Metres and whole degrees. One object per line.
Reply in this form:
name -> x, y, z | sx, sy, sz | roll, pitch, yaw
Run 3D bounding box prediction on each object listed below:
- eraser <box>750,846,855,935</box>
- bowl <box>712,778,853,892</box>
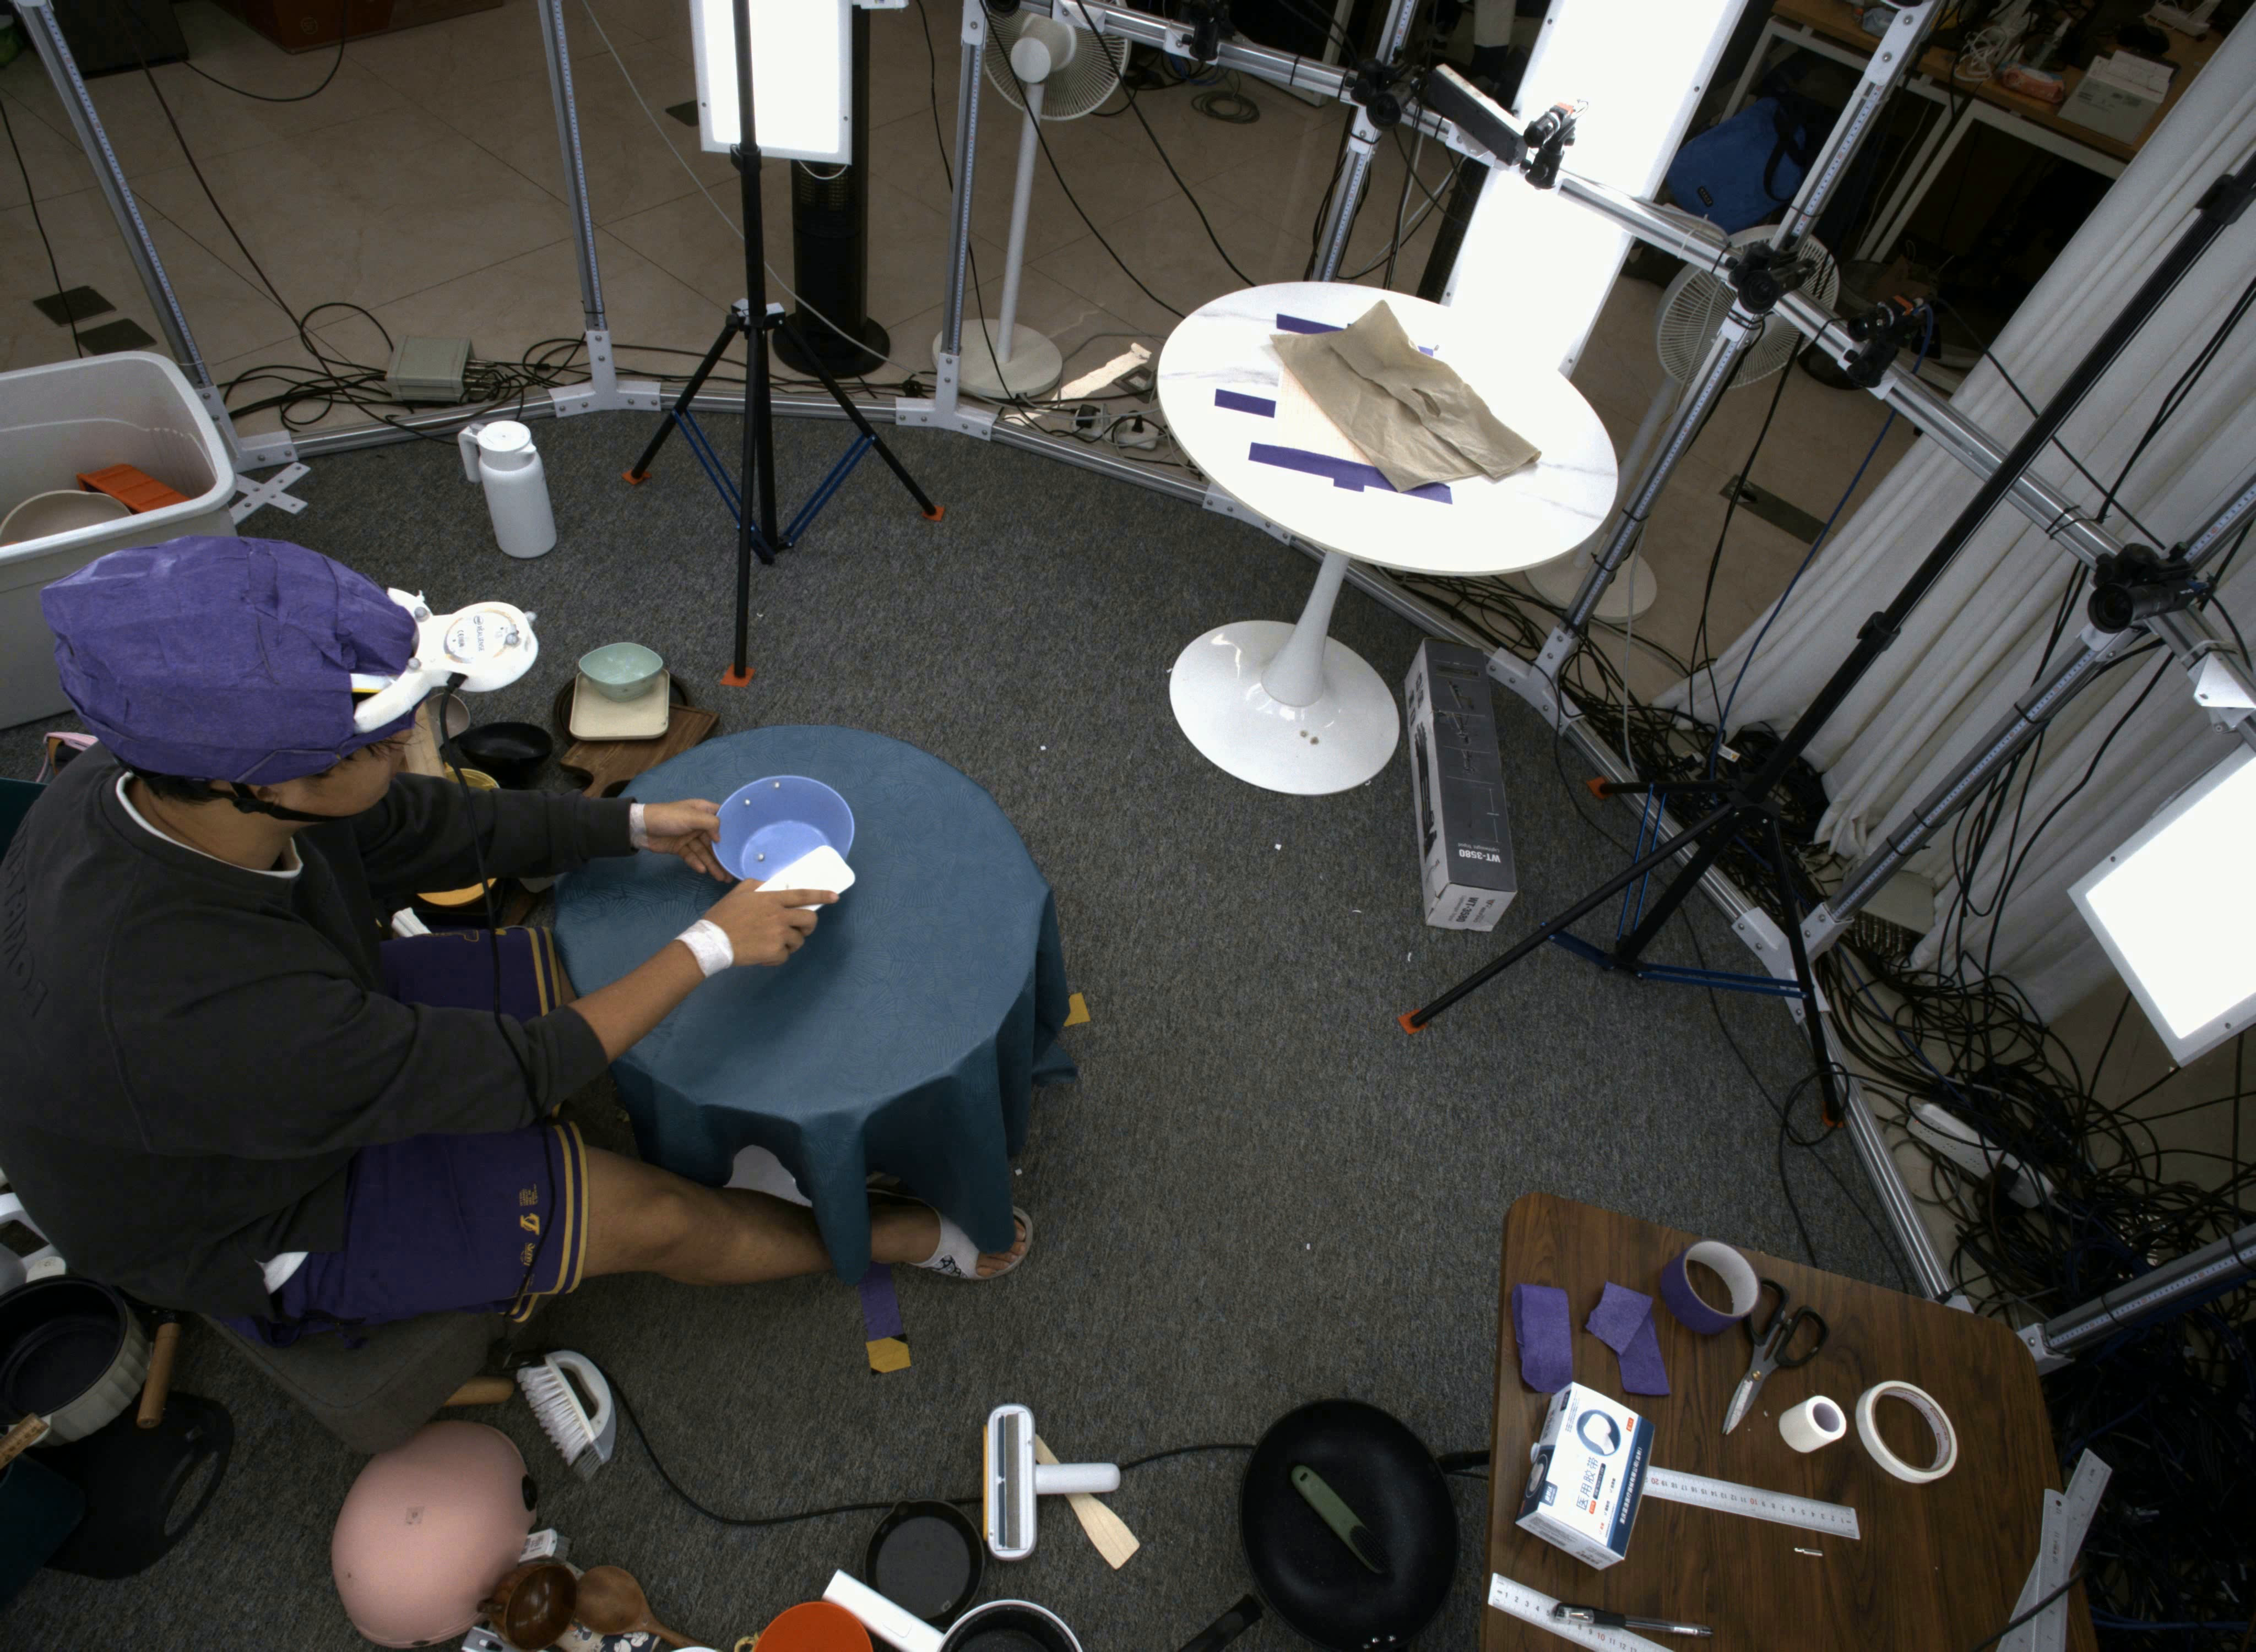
eraser -> -0.391, 0.074, 1.557 | 0.063, 0.034, 0.131 | 51, 49, 2
bowl -> -0.437, 0.026, 1.651 | 0.175, 0.072, 0.173 | 6, 52, -6
